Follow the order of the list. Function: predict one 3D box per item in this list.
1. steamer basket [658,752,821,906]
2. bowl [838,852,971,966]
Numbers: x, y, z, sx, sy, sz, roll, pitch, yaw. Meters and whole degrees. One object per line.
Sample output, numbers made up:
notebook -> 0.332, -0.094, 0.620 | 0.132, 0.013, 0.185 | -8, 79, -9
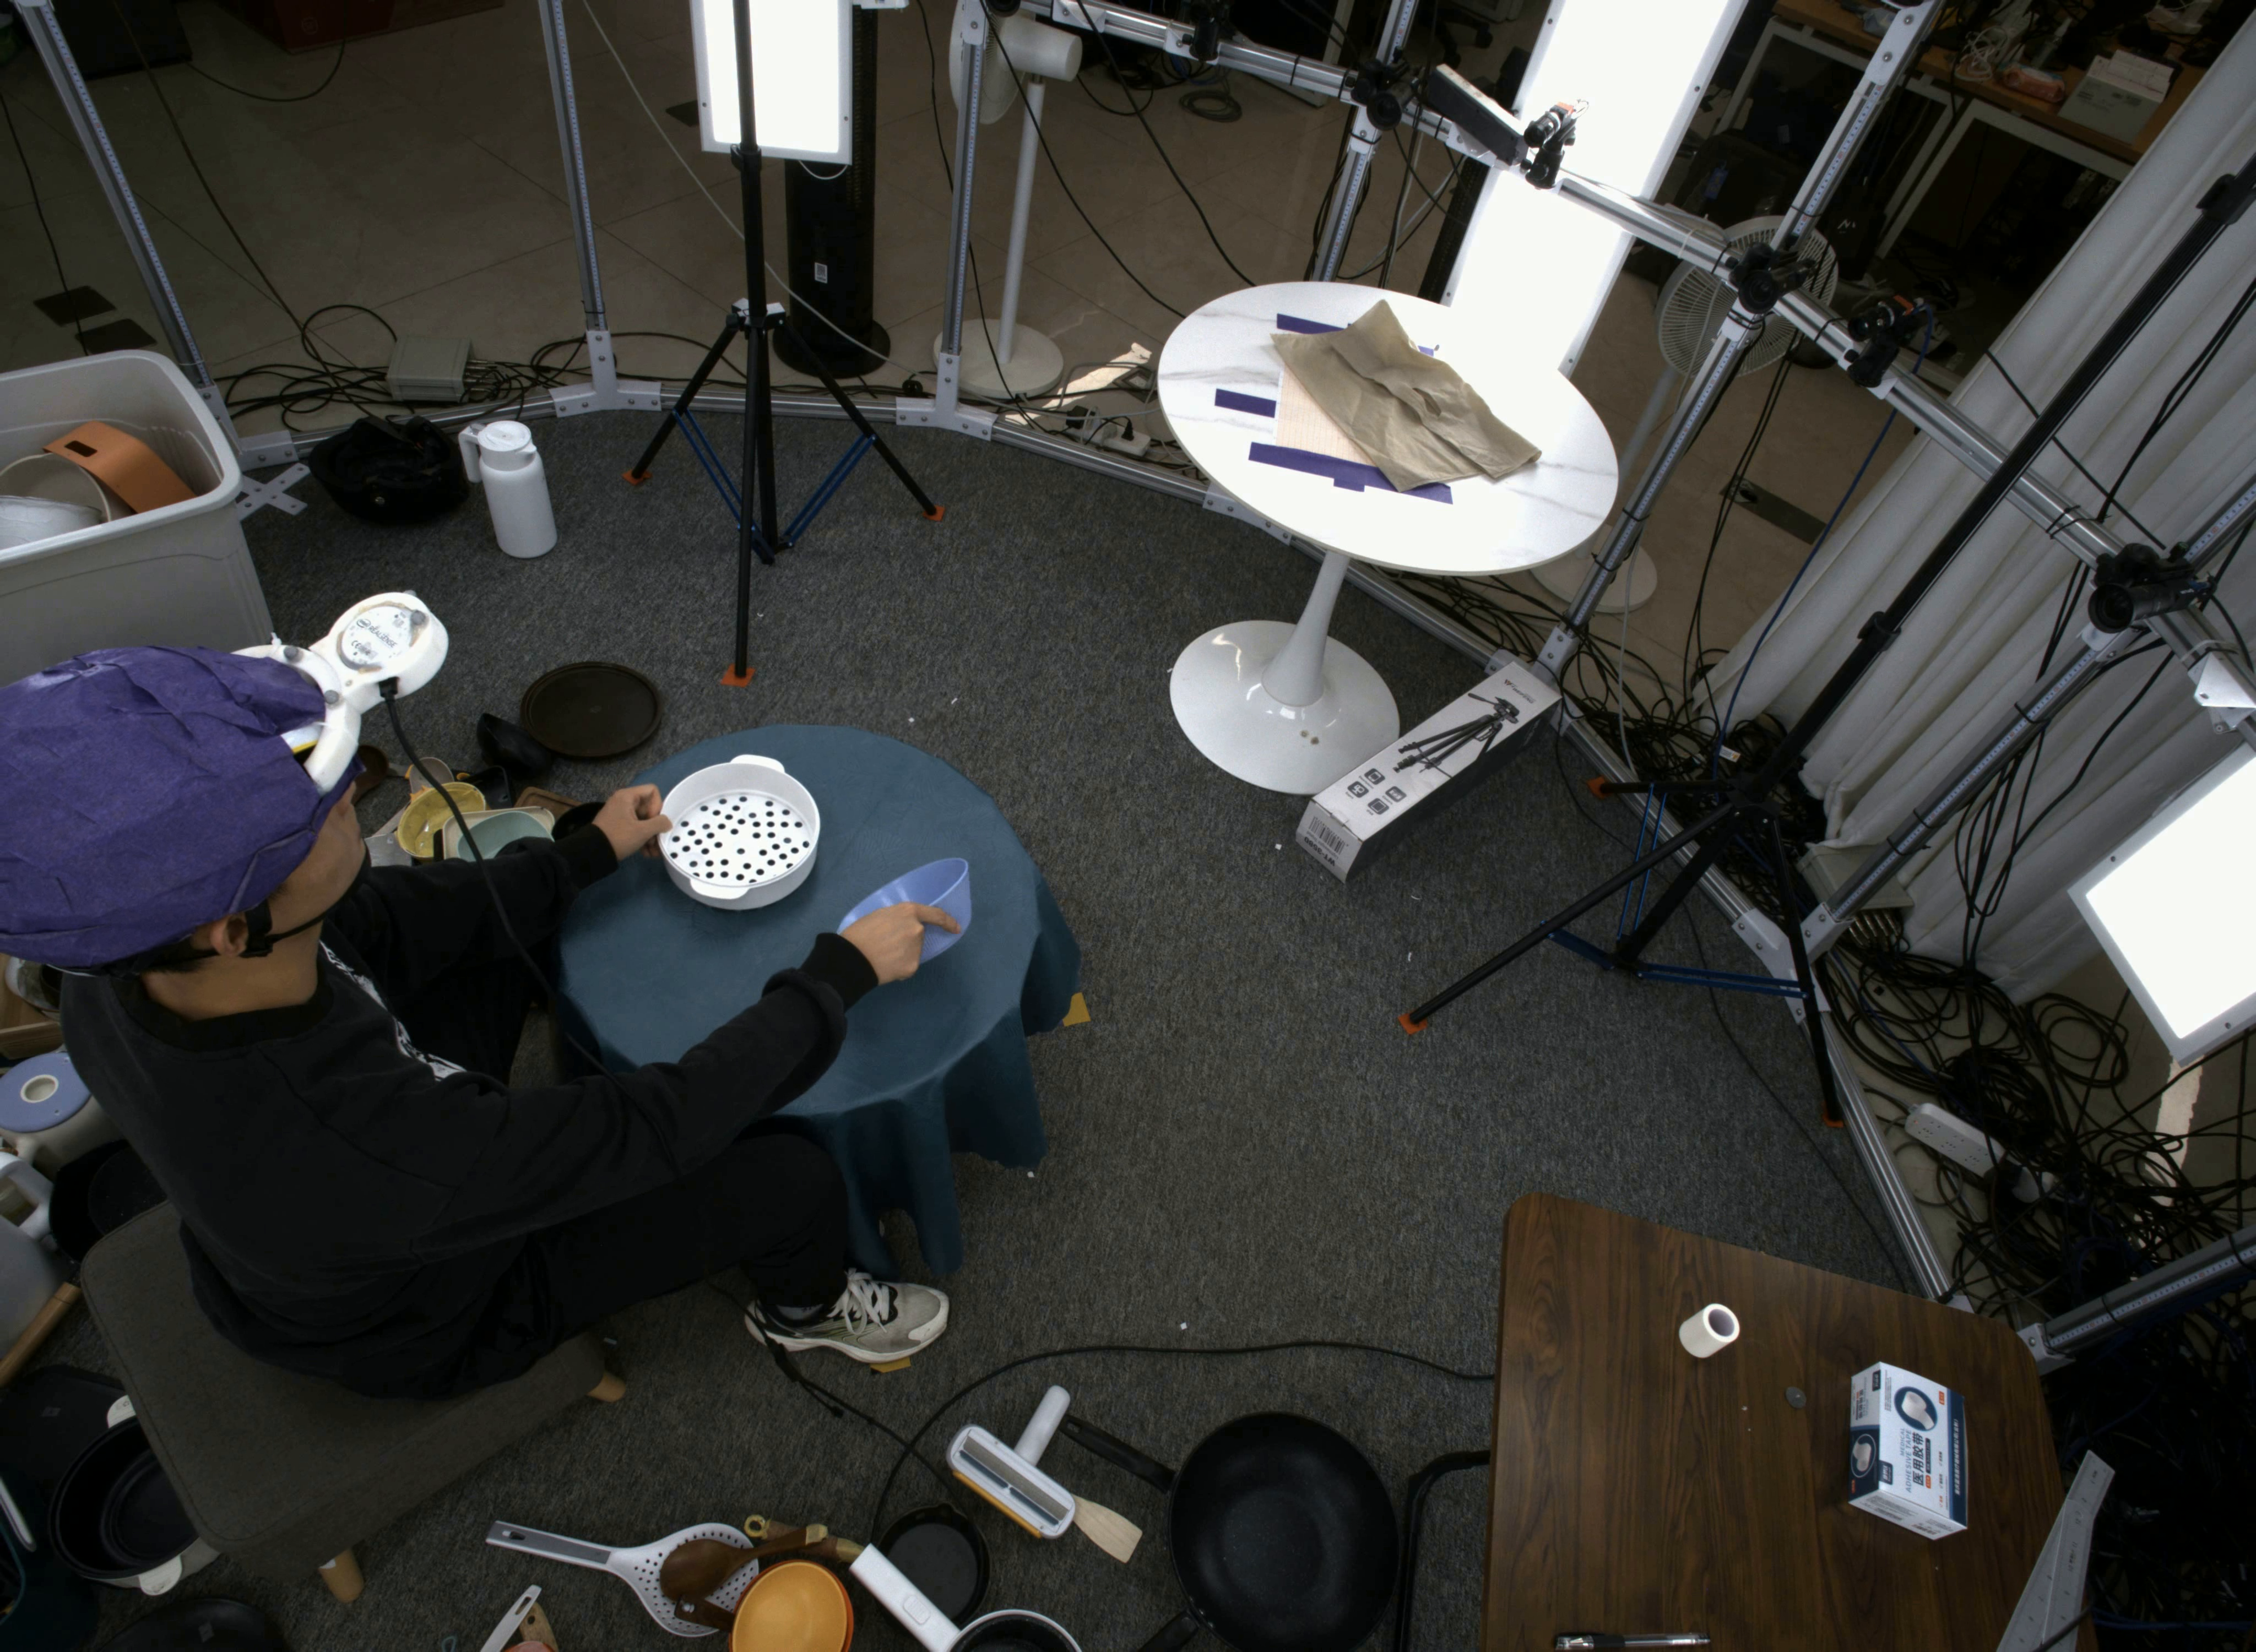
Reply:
steamer basket -> -0.497, 0.008, 1.657 | 0.201, 0.070, 0.226 | 11, 49, -8
bowl -> -0.255, 0.106, 1.558 | 0.176, 0.171, 0.072 | -40, 113, -35
